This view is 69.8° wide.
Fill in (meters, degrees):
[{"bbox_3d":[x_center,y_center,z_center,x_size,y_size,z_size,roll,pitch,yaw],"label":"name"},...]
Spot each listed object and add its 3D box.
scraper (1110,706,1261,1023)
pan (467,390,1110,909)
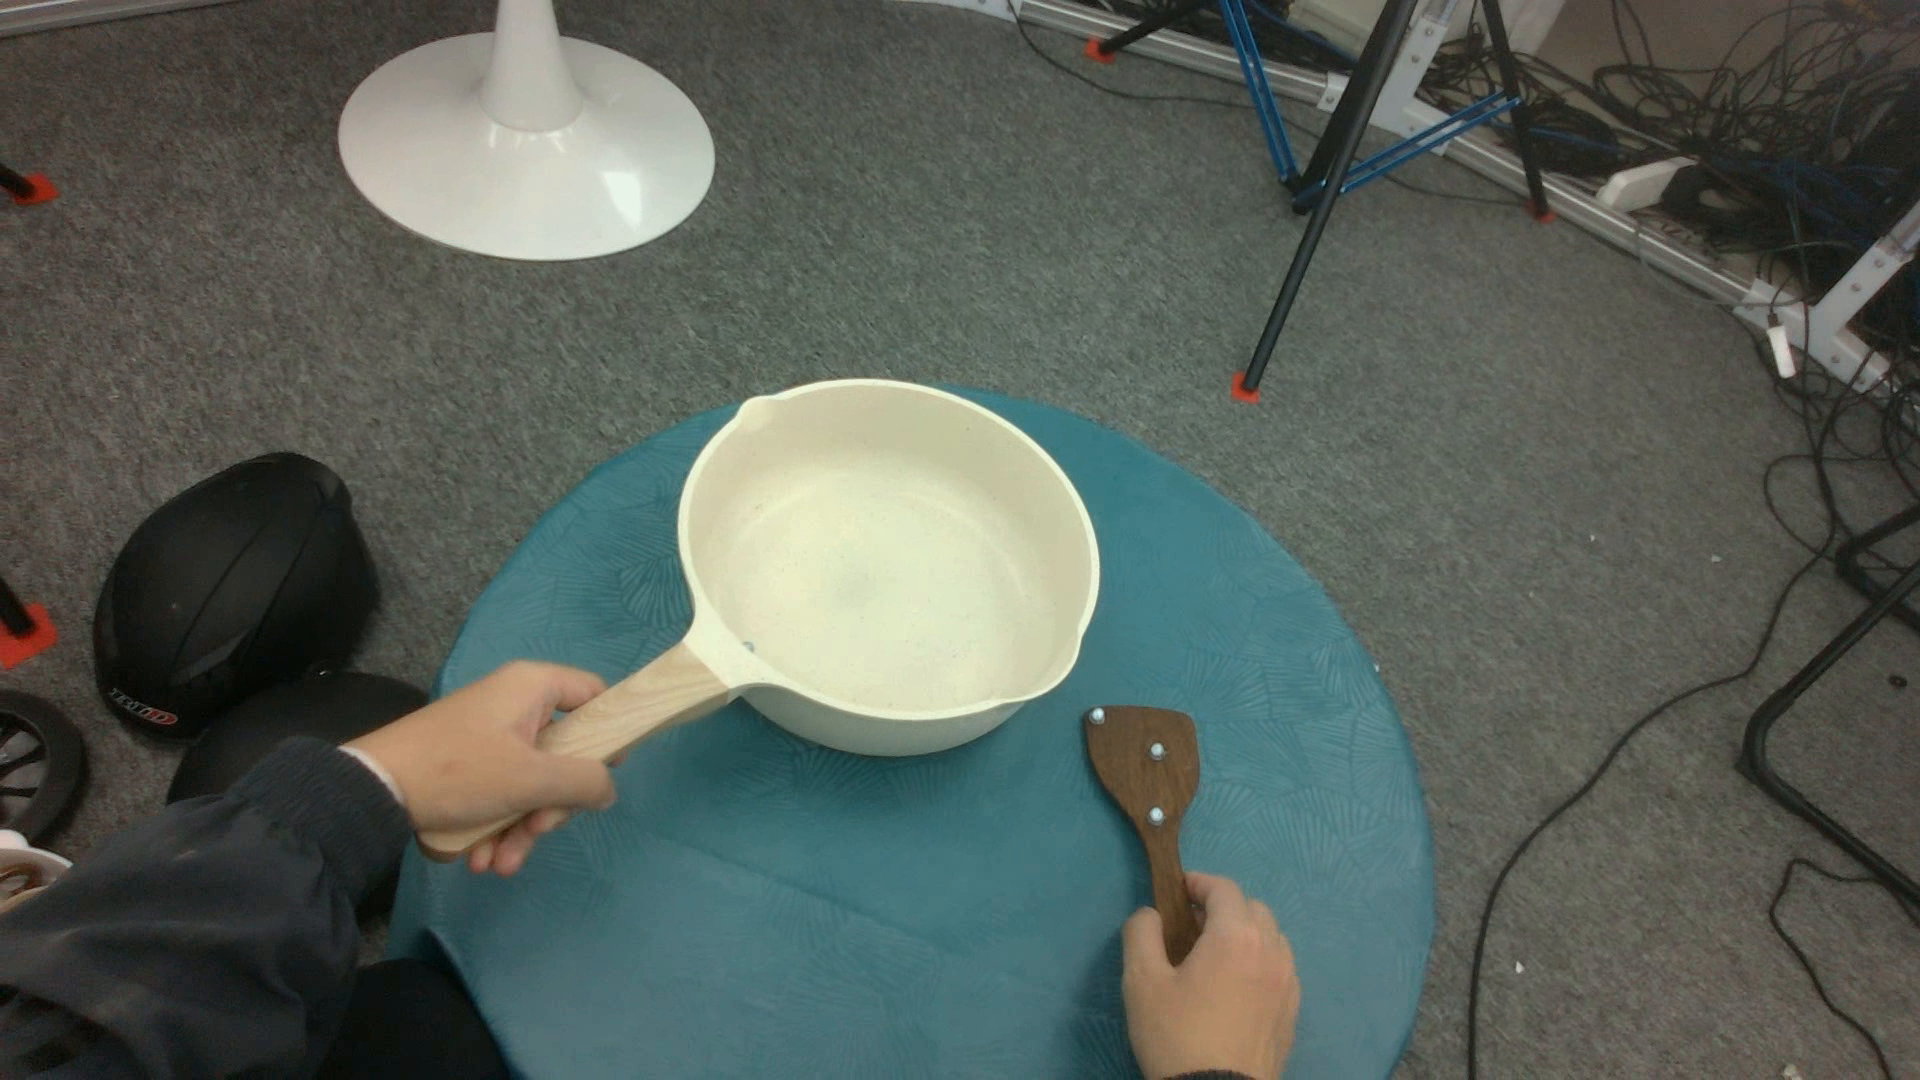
[{"bbox_3d":[0.138,0.181,0.801,0.076,0.011,0.212,2,43,-9],"label":"scraper"},{"bbox_3d":[-0.096,0.072,0.798,0.263,0.101,0.437,39,55,17],"label":"pan"}]
